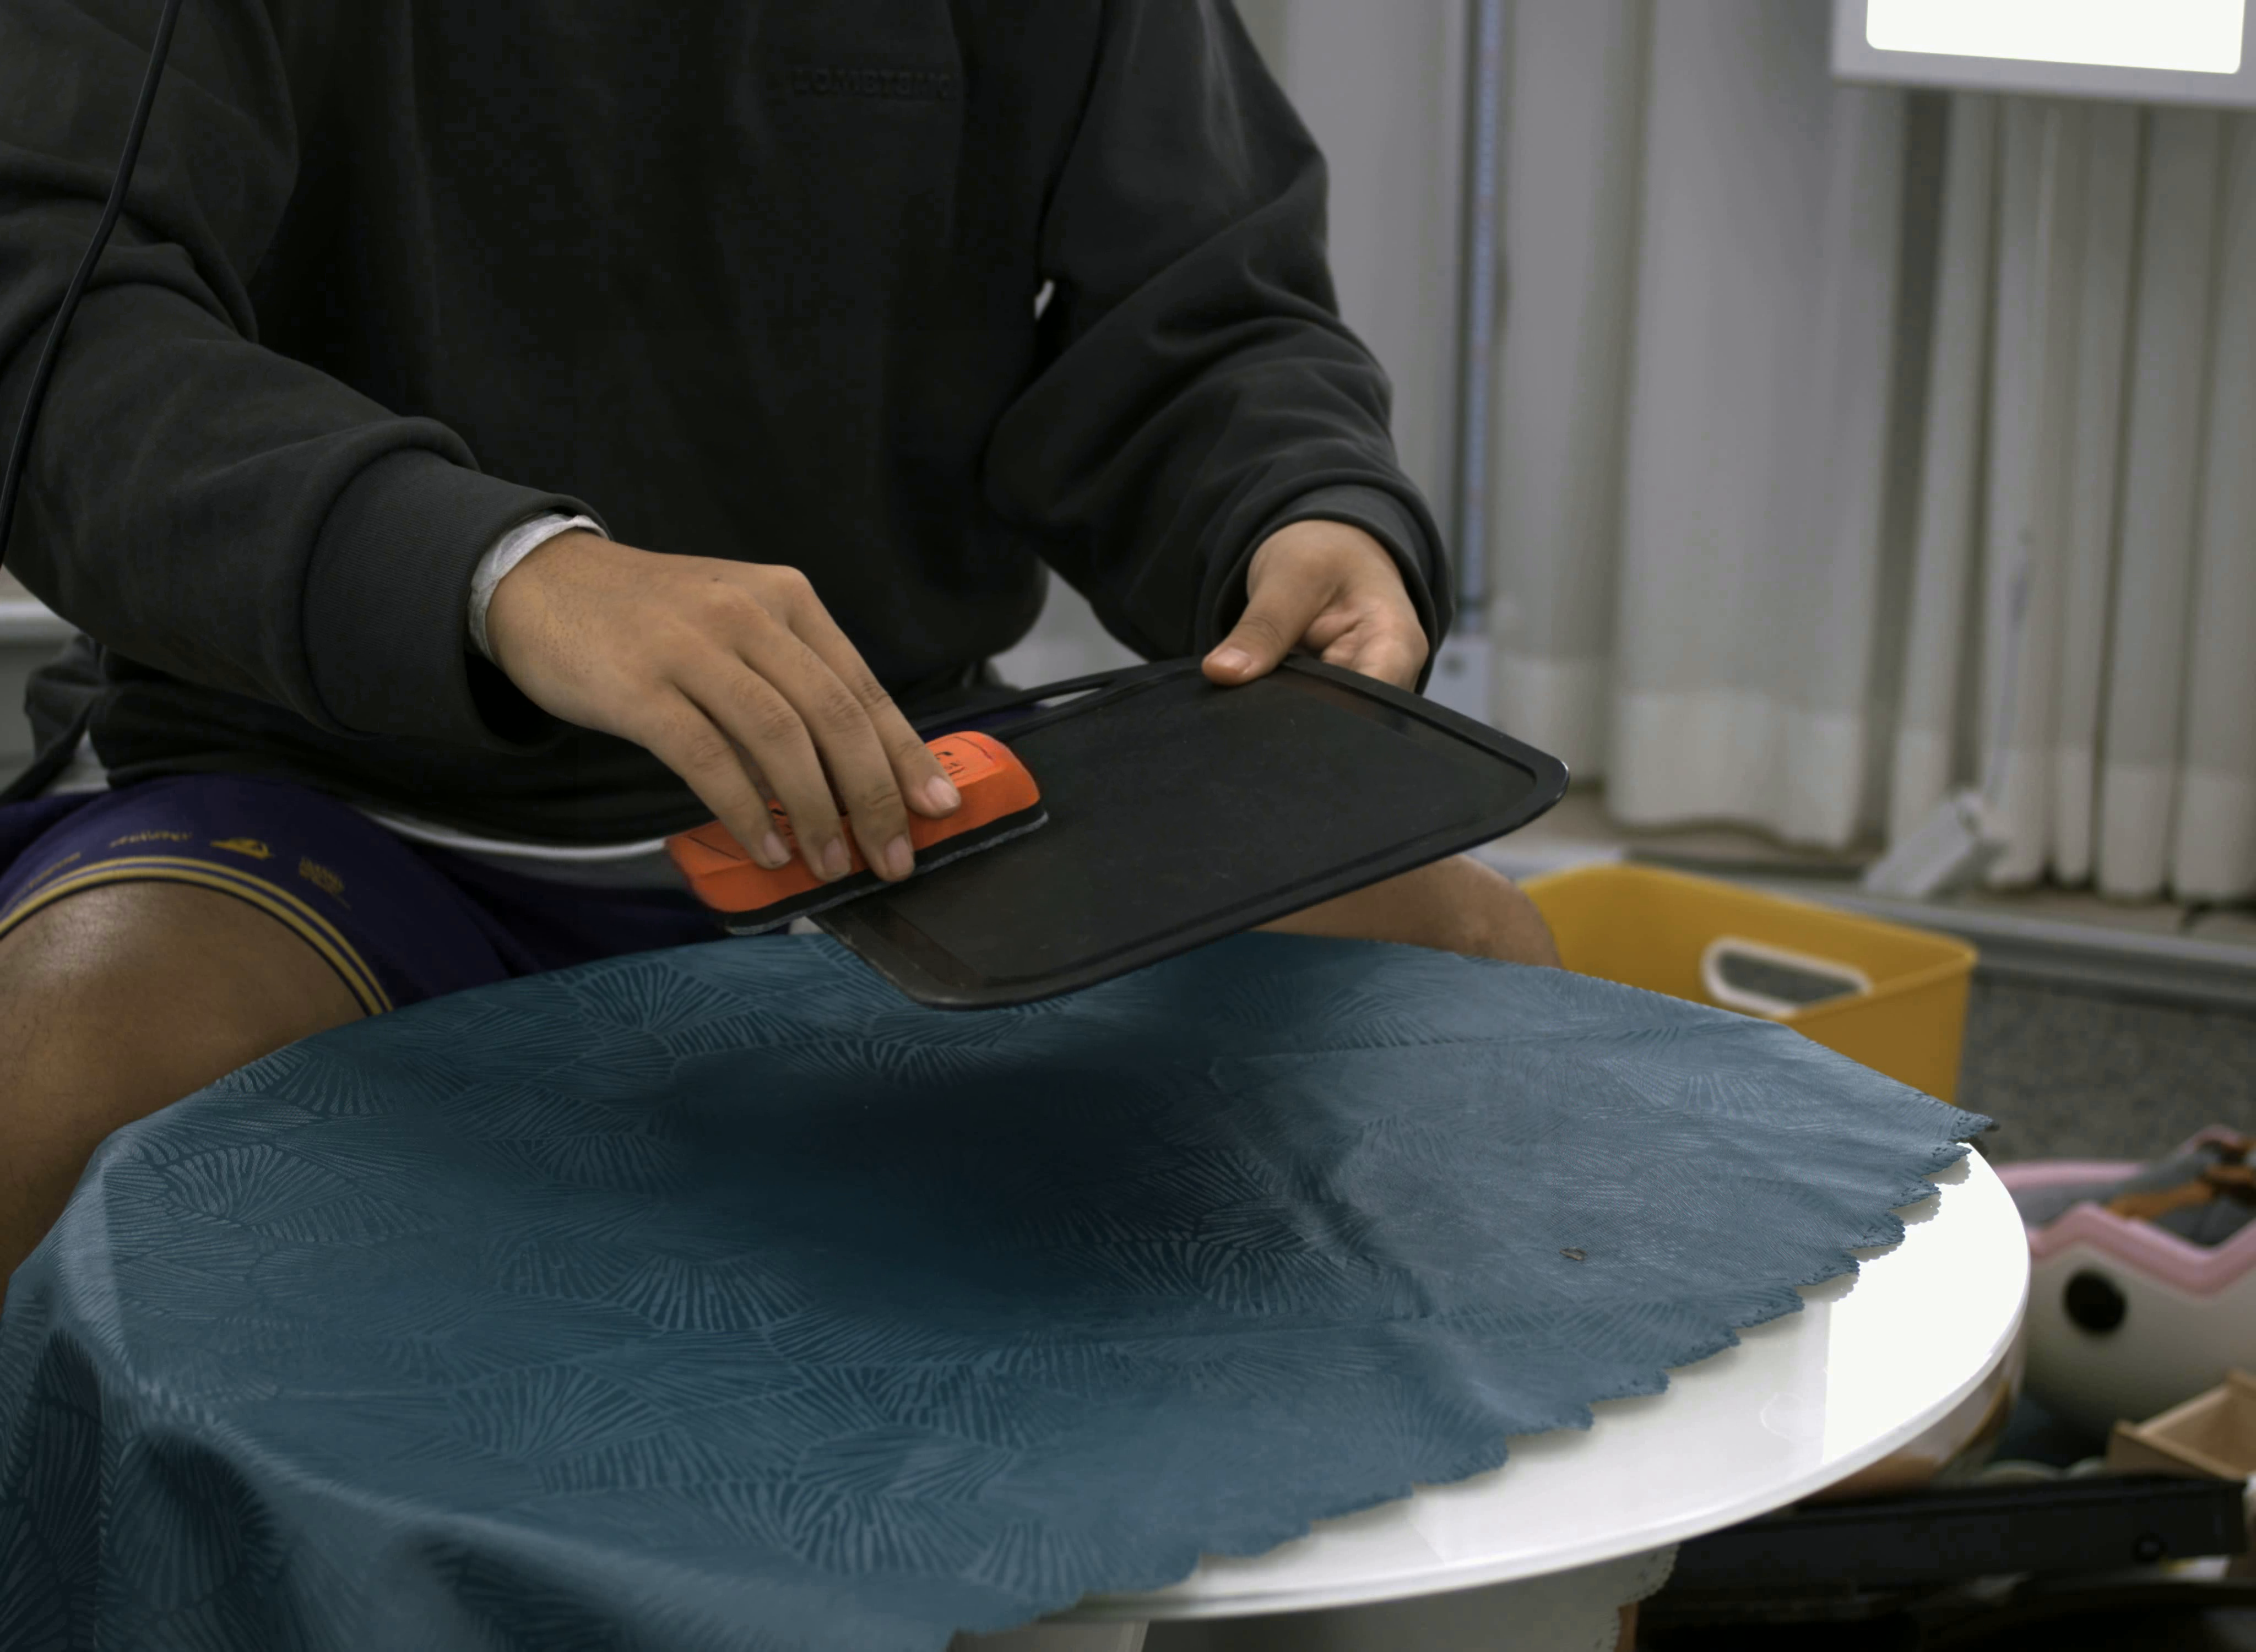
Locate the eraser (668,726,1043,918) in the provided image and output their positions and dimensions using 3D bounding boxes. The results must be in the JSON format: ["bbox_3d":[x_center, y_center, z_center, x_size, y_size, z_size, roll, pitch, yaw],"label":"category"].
[{"bbox_3d":[-0.084,-0.002,1.618,0.108,0.023,0.058,-19,18,-23],"label":"eraser"}]

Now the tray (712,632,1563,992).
[{"bbox_3d":[-0.008,-0.011,1.635,0.211,0.010,0.322,-19,17,-15],"label":"tray"}]
